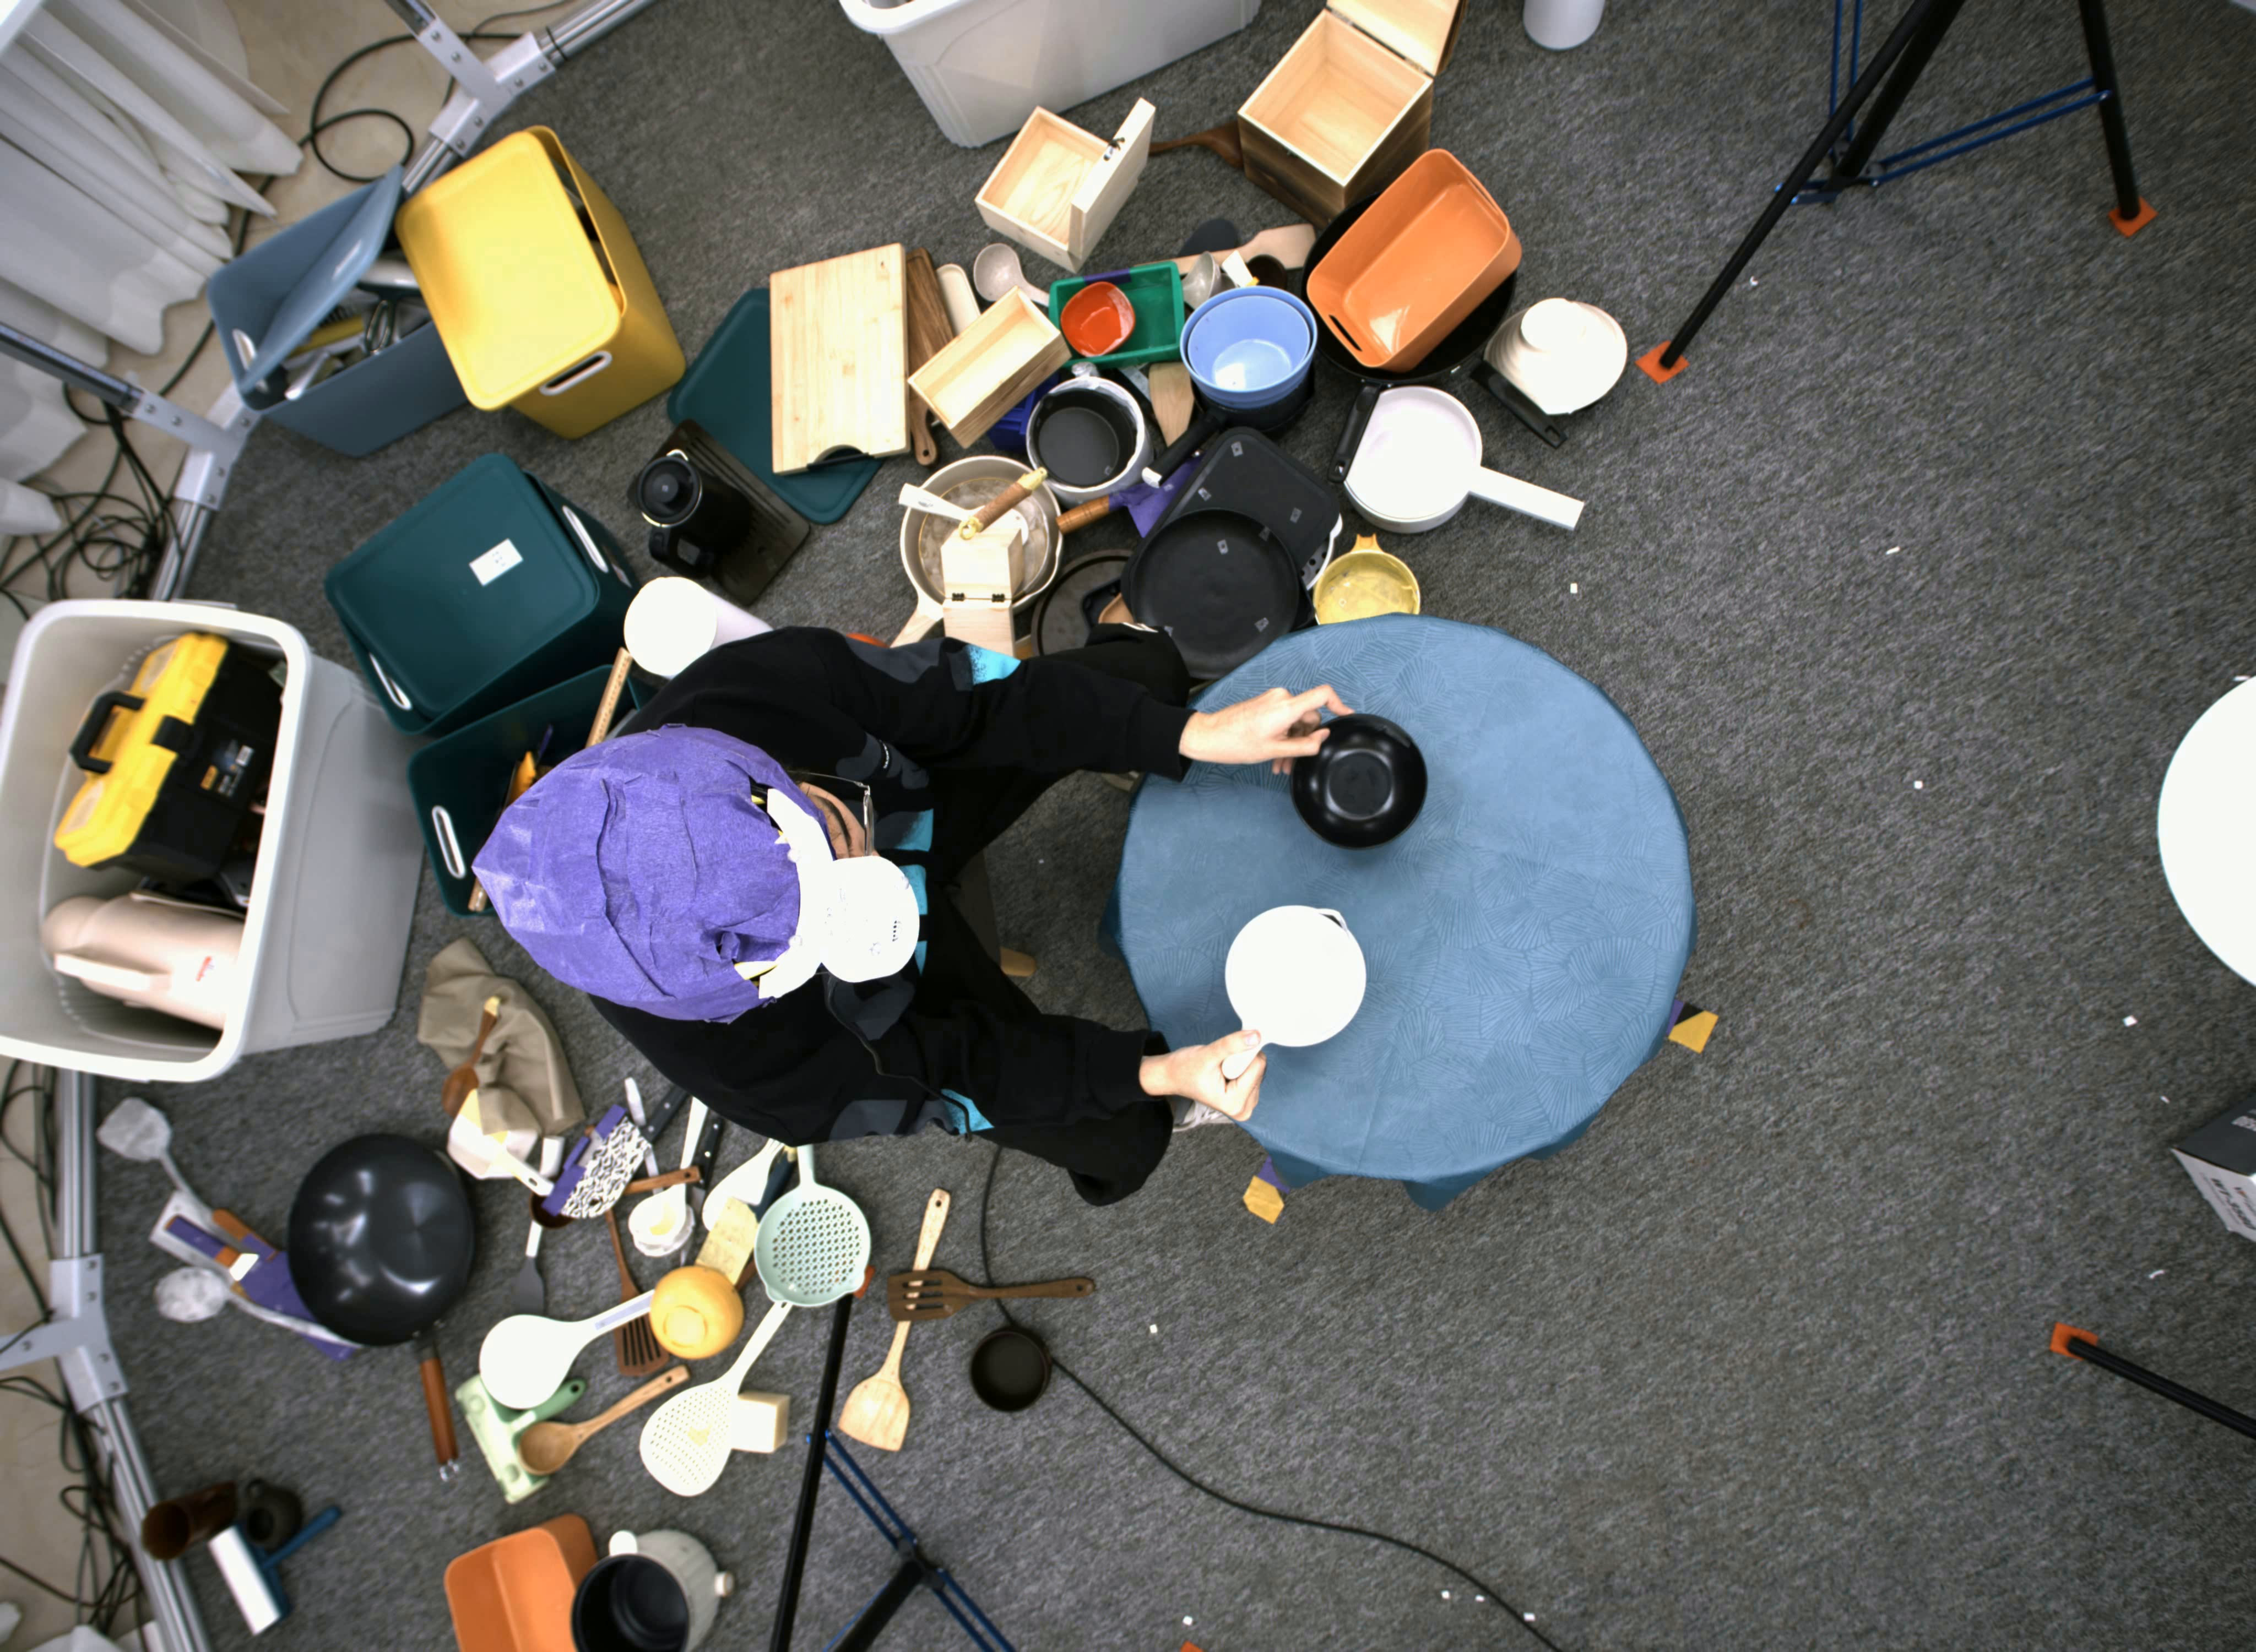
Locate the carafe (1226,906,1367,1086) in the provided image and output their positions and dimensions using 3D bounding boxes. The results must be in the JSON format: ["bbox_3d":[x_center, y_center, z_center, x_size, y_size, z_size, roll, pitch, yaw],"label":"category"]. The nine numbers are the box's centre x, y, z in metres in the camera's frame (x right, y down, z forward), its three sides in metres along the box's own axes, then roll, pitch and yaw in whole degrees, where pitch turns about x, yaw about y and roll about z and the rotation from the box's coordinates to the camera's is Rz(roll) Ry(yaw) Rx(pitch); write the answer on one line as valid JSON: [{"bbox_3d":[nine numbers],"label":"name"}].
[{"bbox_3d":[0.149,0.166,1.333,0.132,0.183,0.191,33,91,11],"label":"carafe"}]

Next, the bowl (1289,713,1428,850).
[{"bbox_3d":[0.236,-0.045,1.411,0.140,0.049,0.140,0,92,12],"label":"bowl"}]
